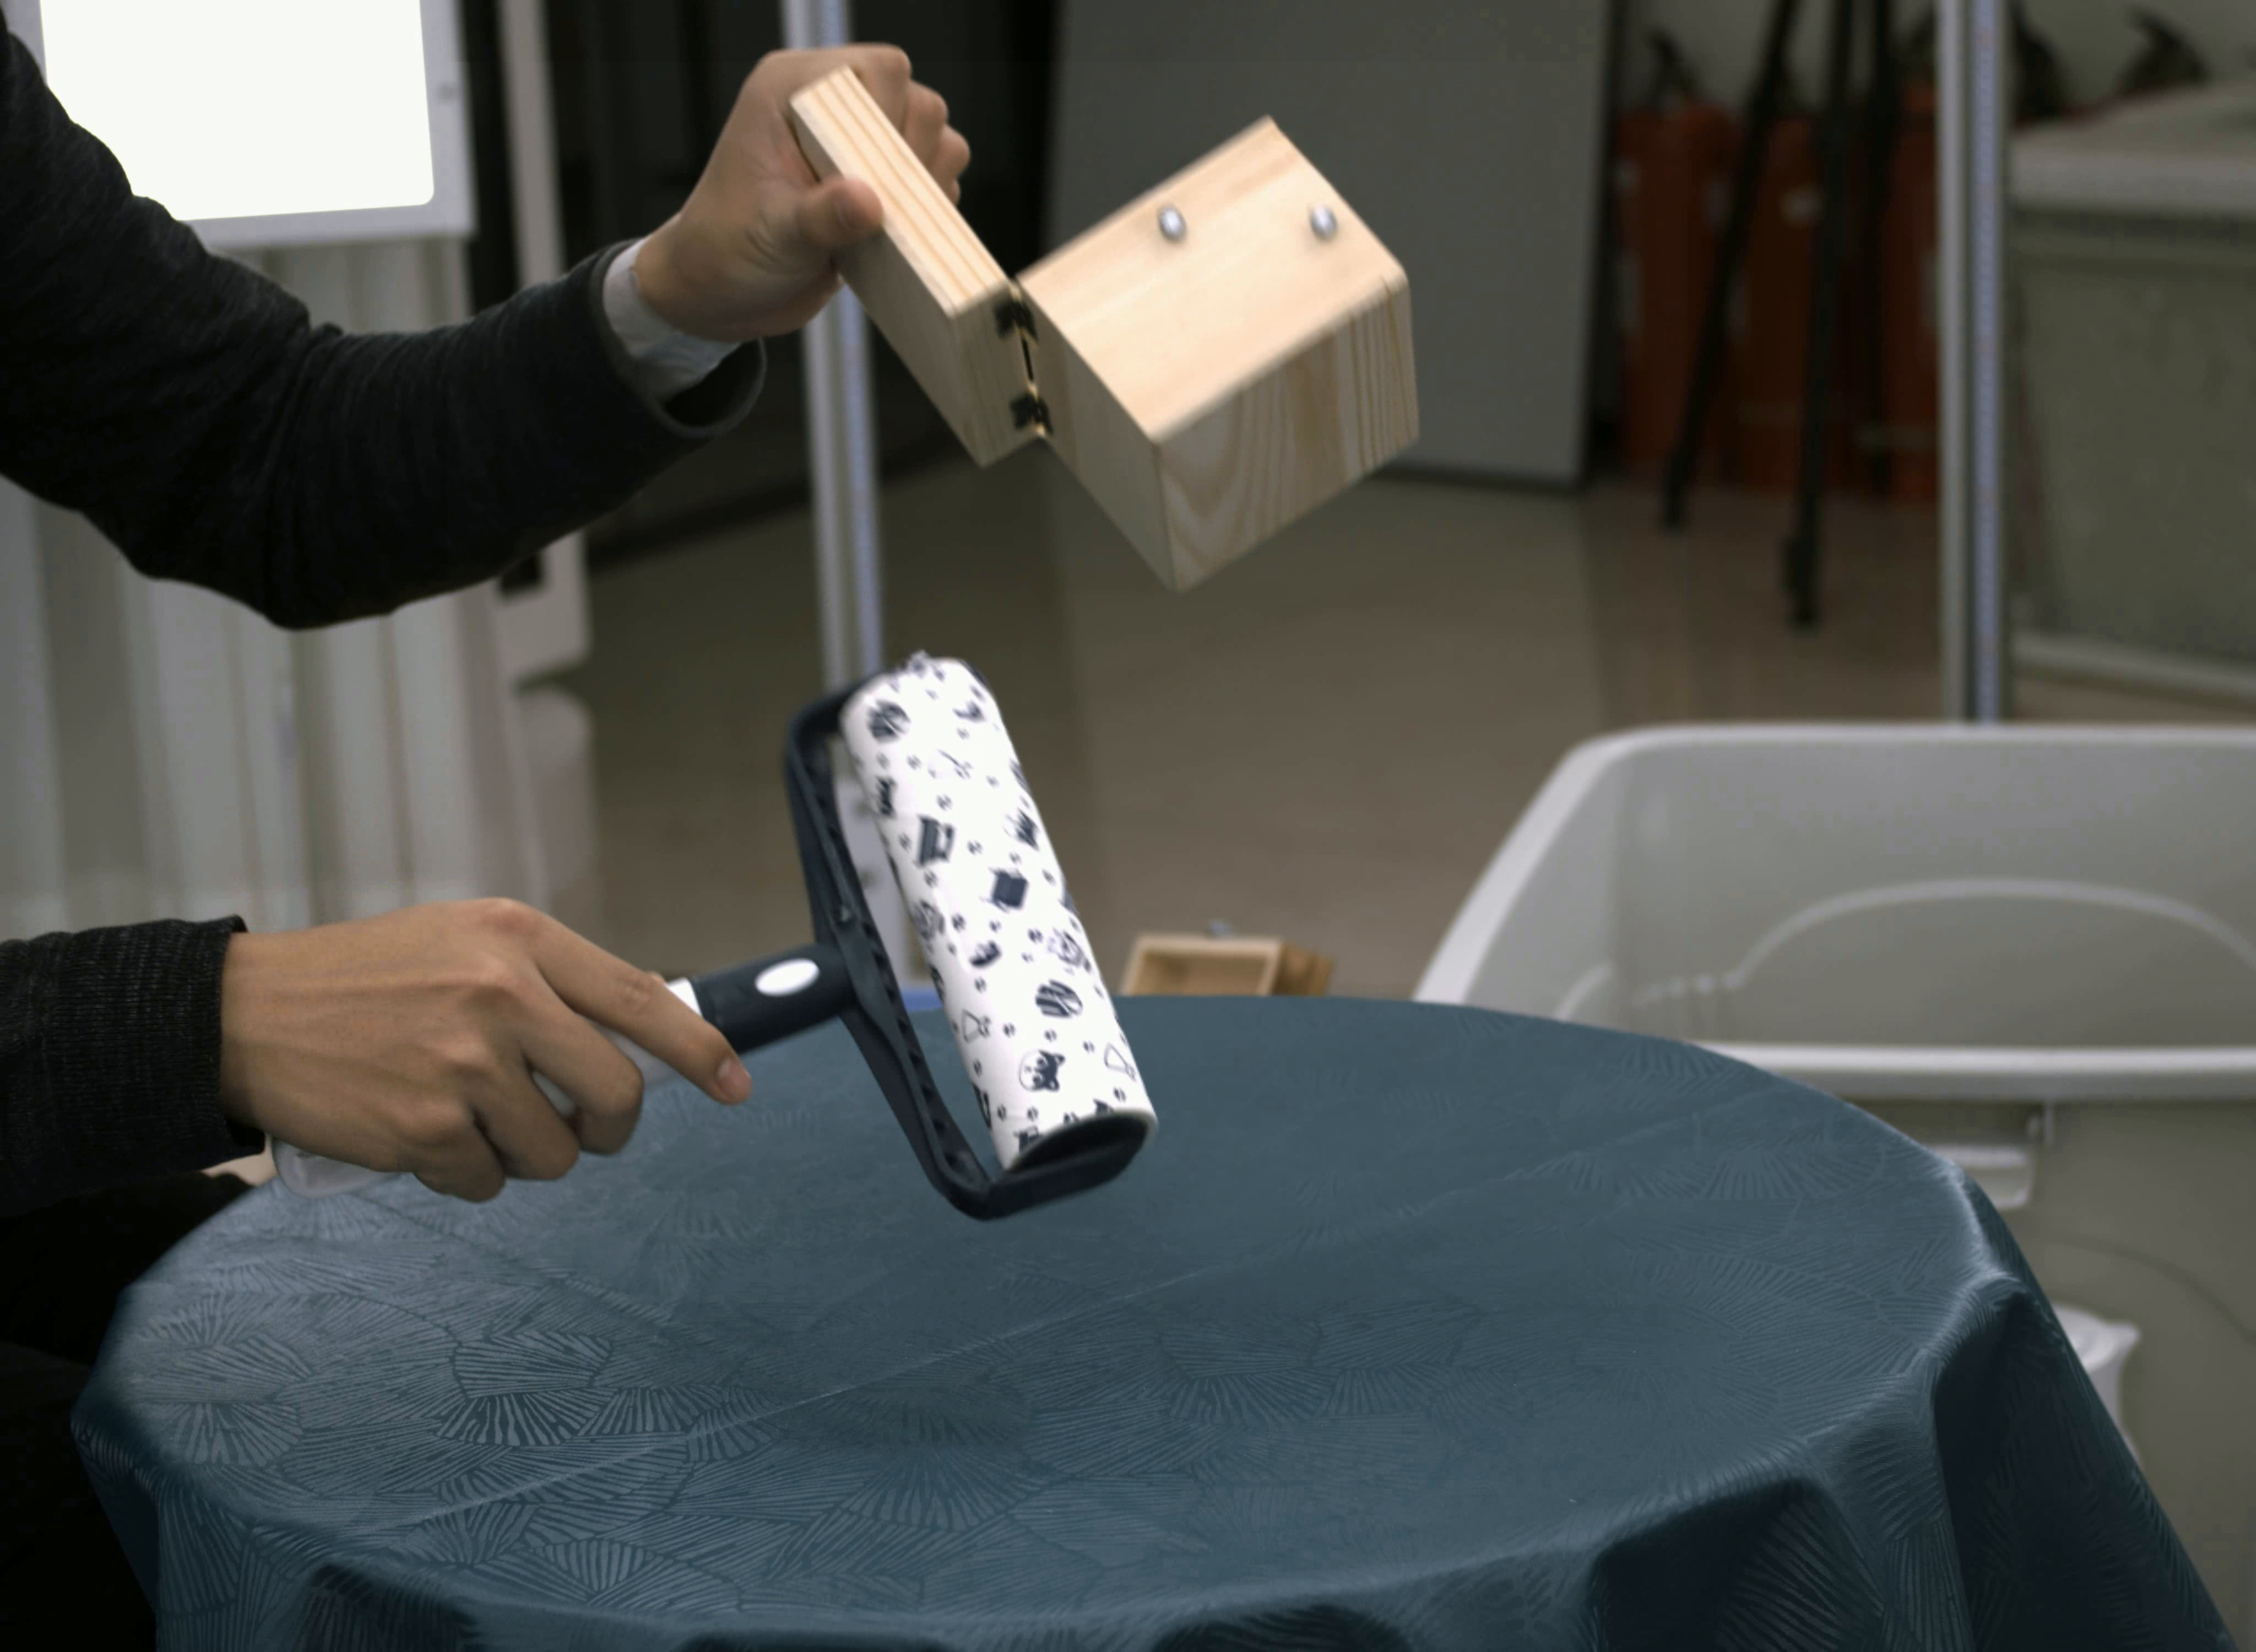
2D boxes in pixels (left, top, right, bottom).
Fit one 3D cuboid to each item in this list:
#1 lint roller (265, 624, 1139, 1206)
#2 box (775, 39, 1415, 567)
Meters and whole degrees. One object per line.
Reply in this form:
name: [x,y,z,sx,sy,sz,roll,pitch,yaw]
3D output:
lint roller: [-0.136,0.056,1.590,0.243,0.178,0.050,-20,-23,-8]
box: [-0.009,-0.193,1.773,0.132,0.102,0.186,-34,61,-12]
